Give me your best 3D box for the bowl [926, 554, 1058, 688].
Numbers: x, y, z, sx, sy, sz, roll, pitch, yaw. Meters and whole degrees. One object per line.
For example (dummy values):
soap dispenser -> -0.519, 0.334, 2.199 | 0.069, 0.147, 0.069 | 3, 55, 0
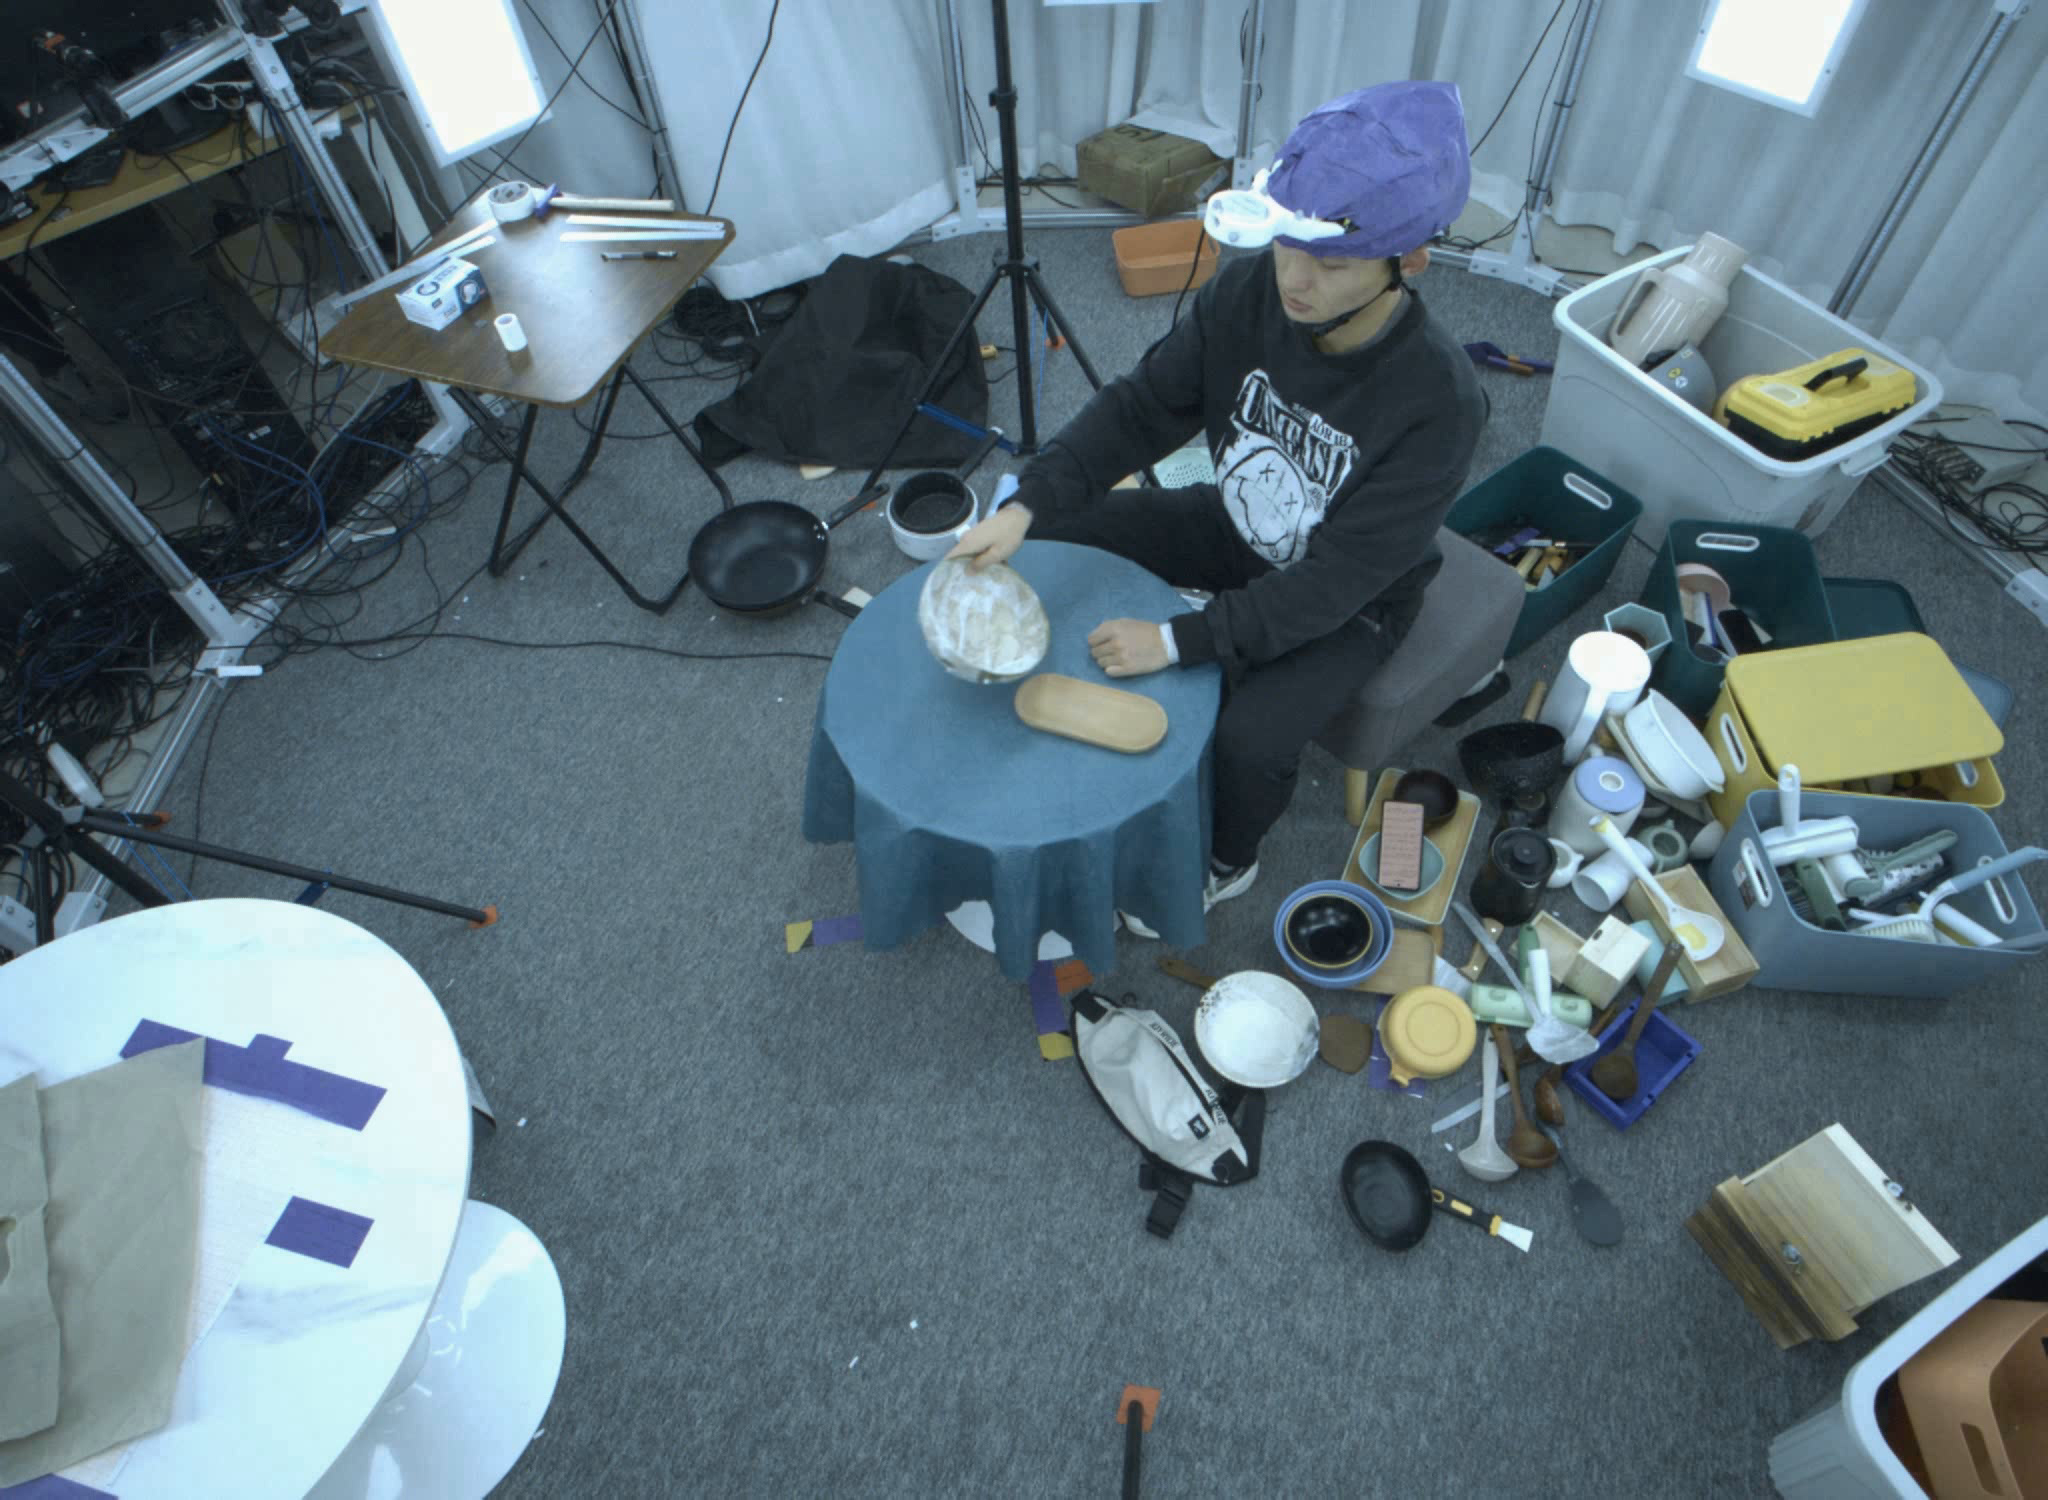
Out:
bowl -> -0.059, -0.169, 1.779 | 0.219, 0.093, 0.212 | 19, 56, -28

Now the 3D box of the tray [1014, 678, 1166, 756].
tray -> 0.097, -0.049, 1.820 | 0.229, 0.020, 0.101 | 14, 55, 13
